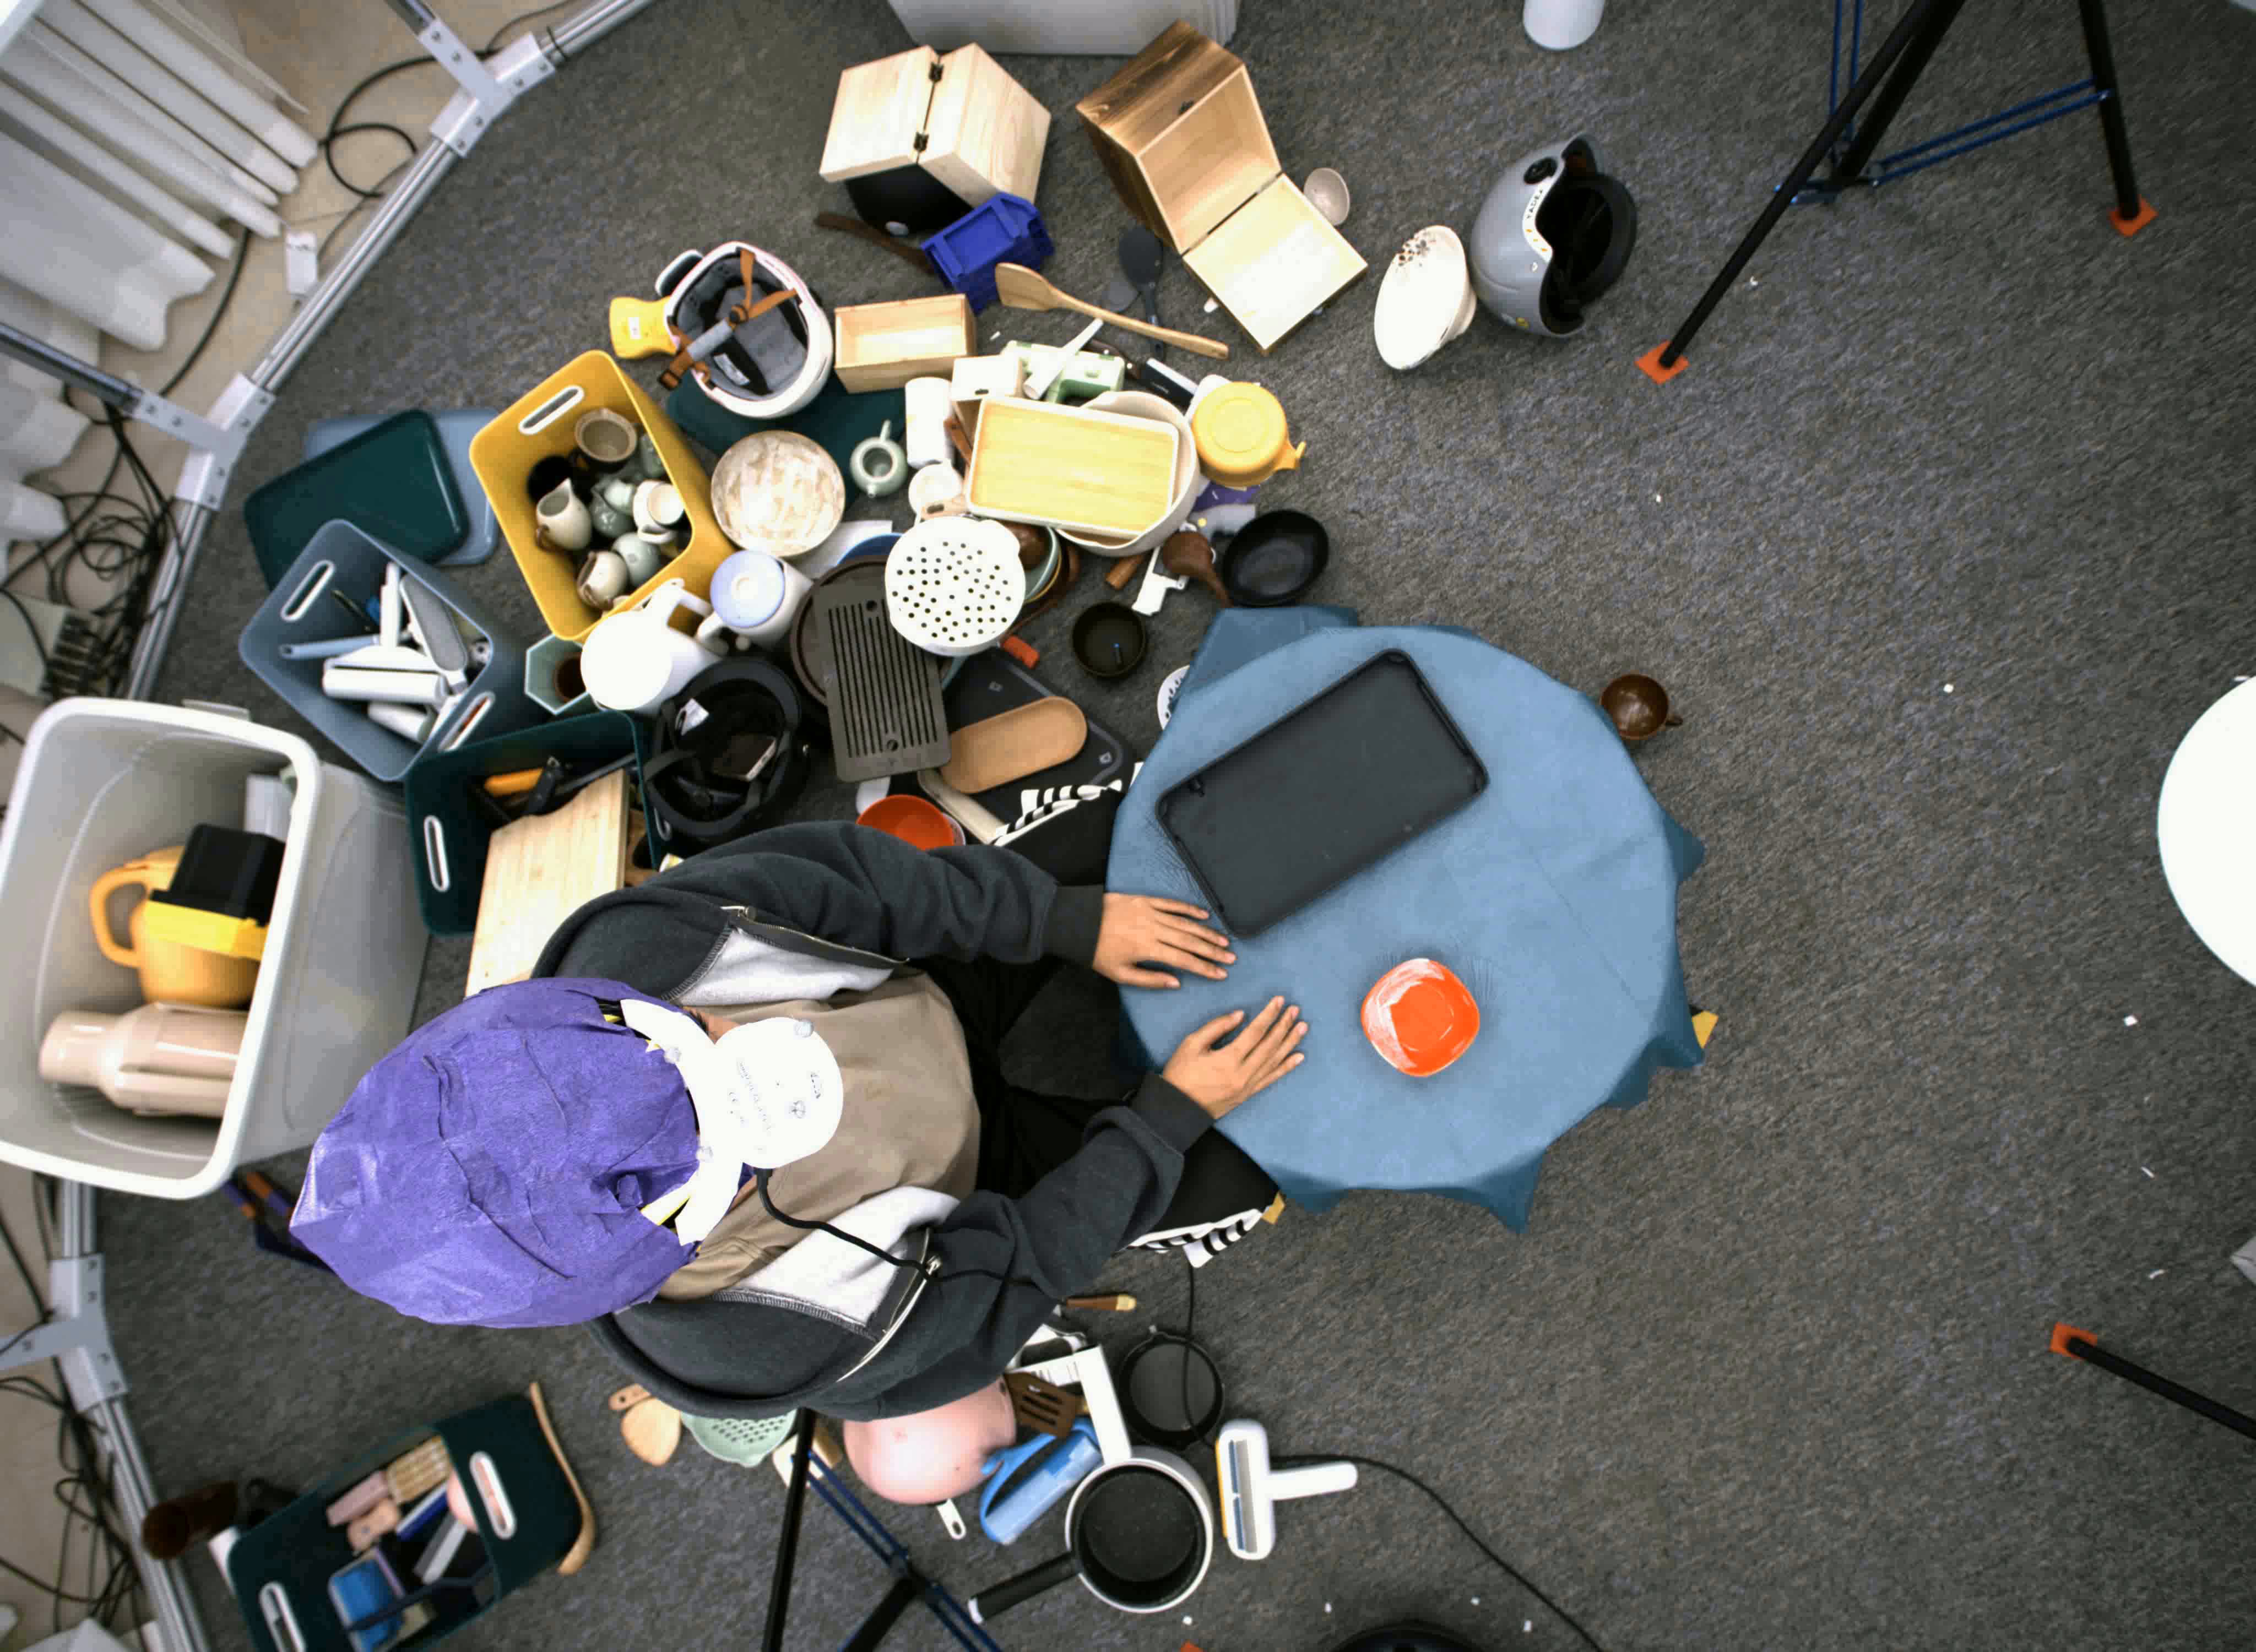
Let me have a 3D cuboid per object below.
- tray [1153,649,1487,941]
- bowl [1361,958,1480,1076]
[{"bbox_3d":[0.201,-0.032,1.458,0.319,0.037,0.183,-33,82,6],"label":"tray"},{"bbox_3d":[0.298,0.194,1.419,0.119,0.051,0.118,-1,86,8],"label":"bowl"}]
